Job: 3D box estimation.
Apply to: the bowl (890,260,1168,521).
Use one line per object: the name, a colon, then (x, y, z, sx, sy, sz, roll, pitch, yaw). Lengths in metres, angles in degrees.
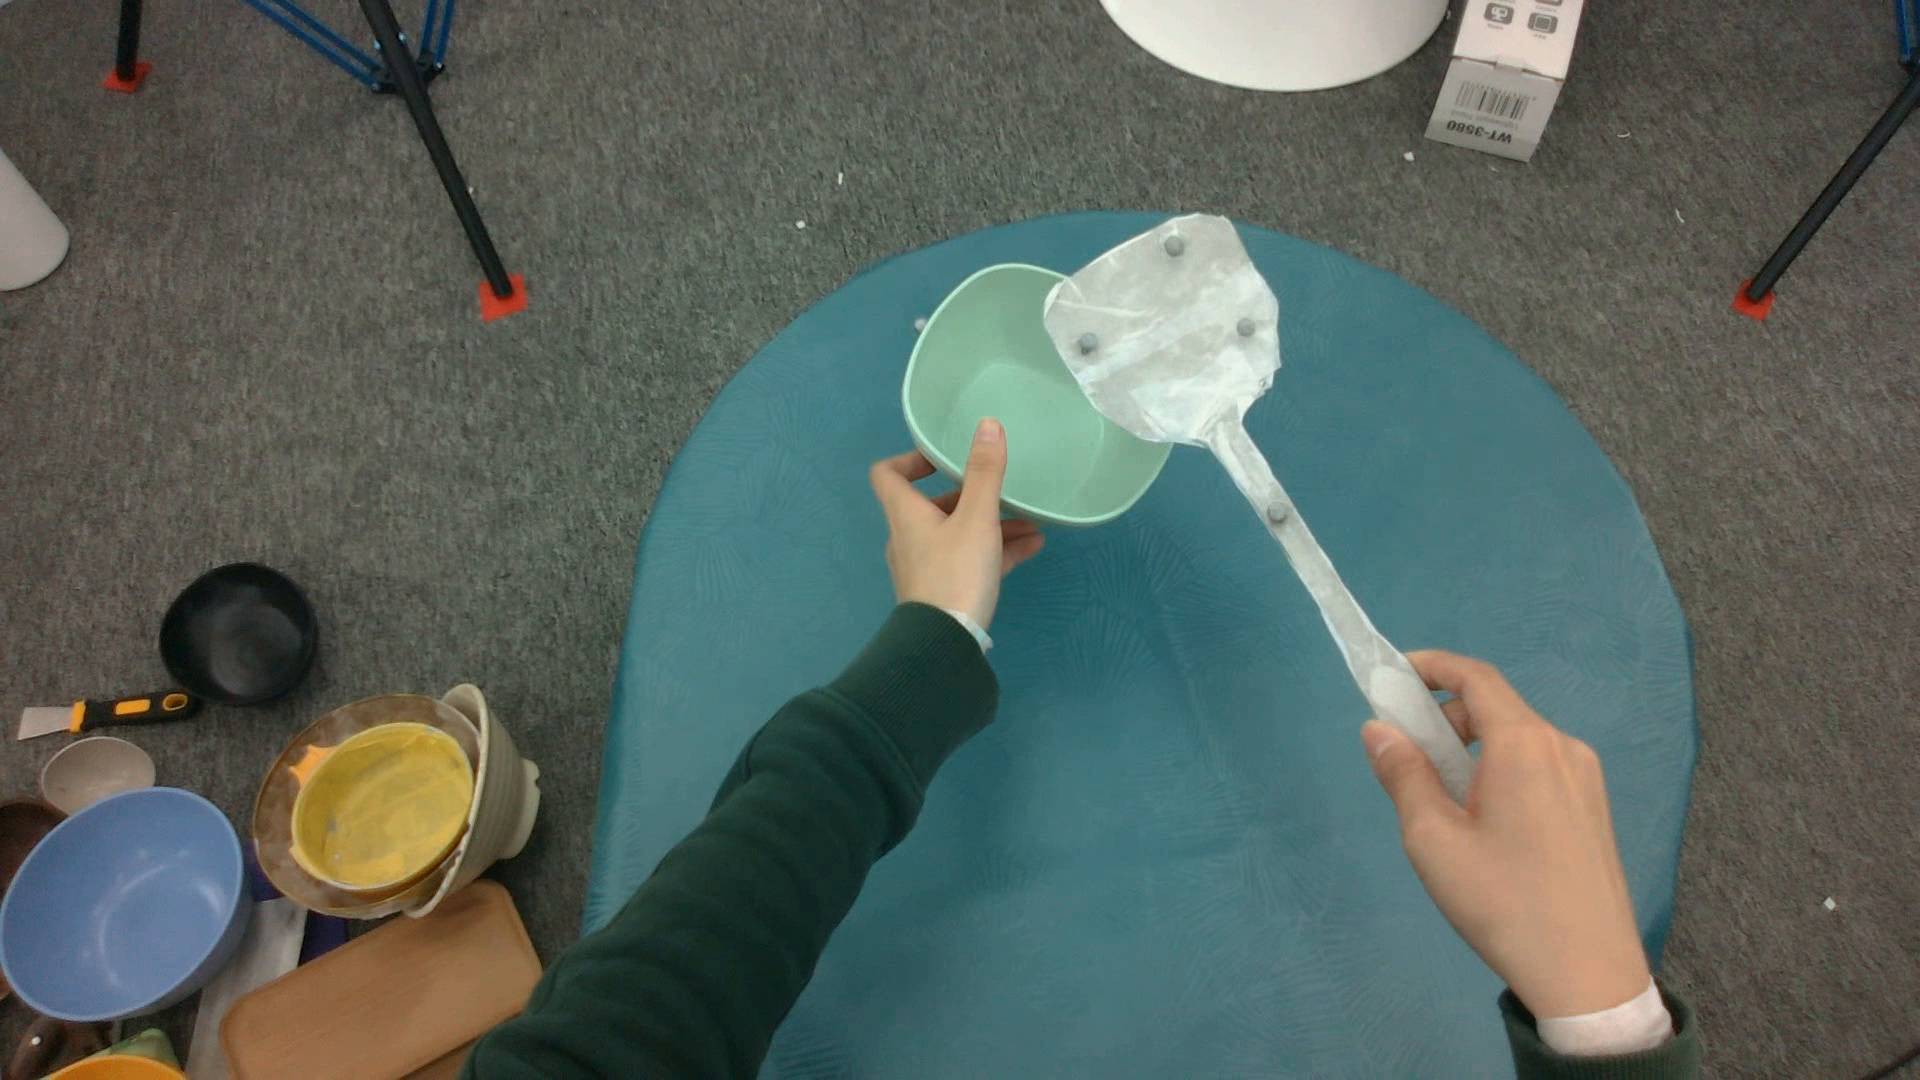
bowl: (0.033, -0.068, 0.716, 0.151, 0.058, 0.152, 5, 64, -10)

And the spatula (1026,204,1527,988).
spatula: (0.132, 0.001, 0.558, 0.098, 0.044, 0.366, -24, 55, 1)
